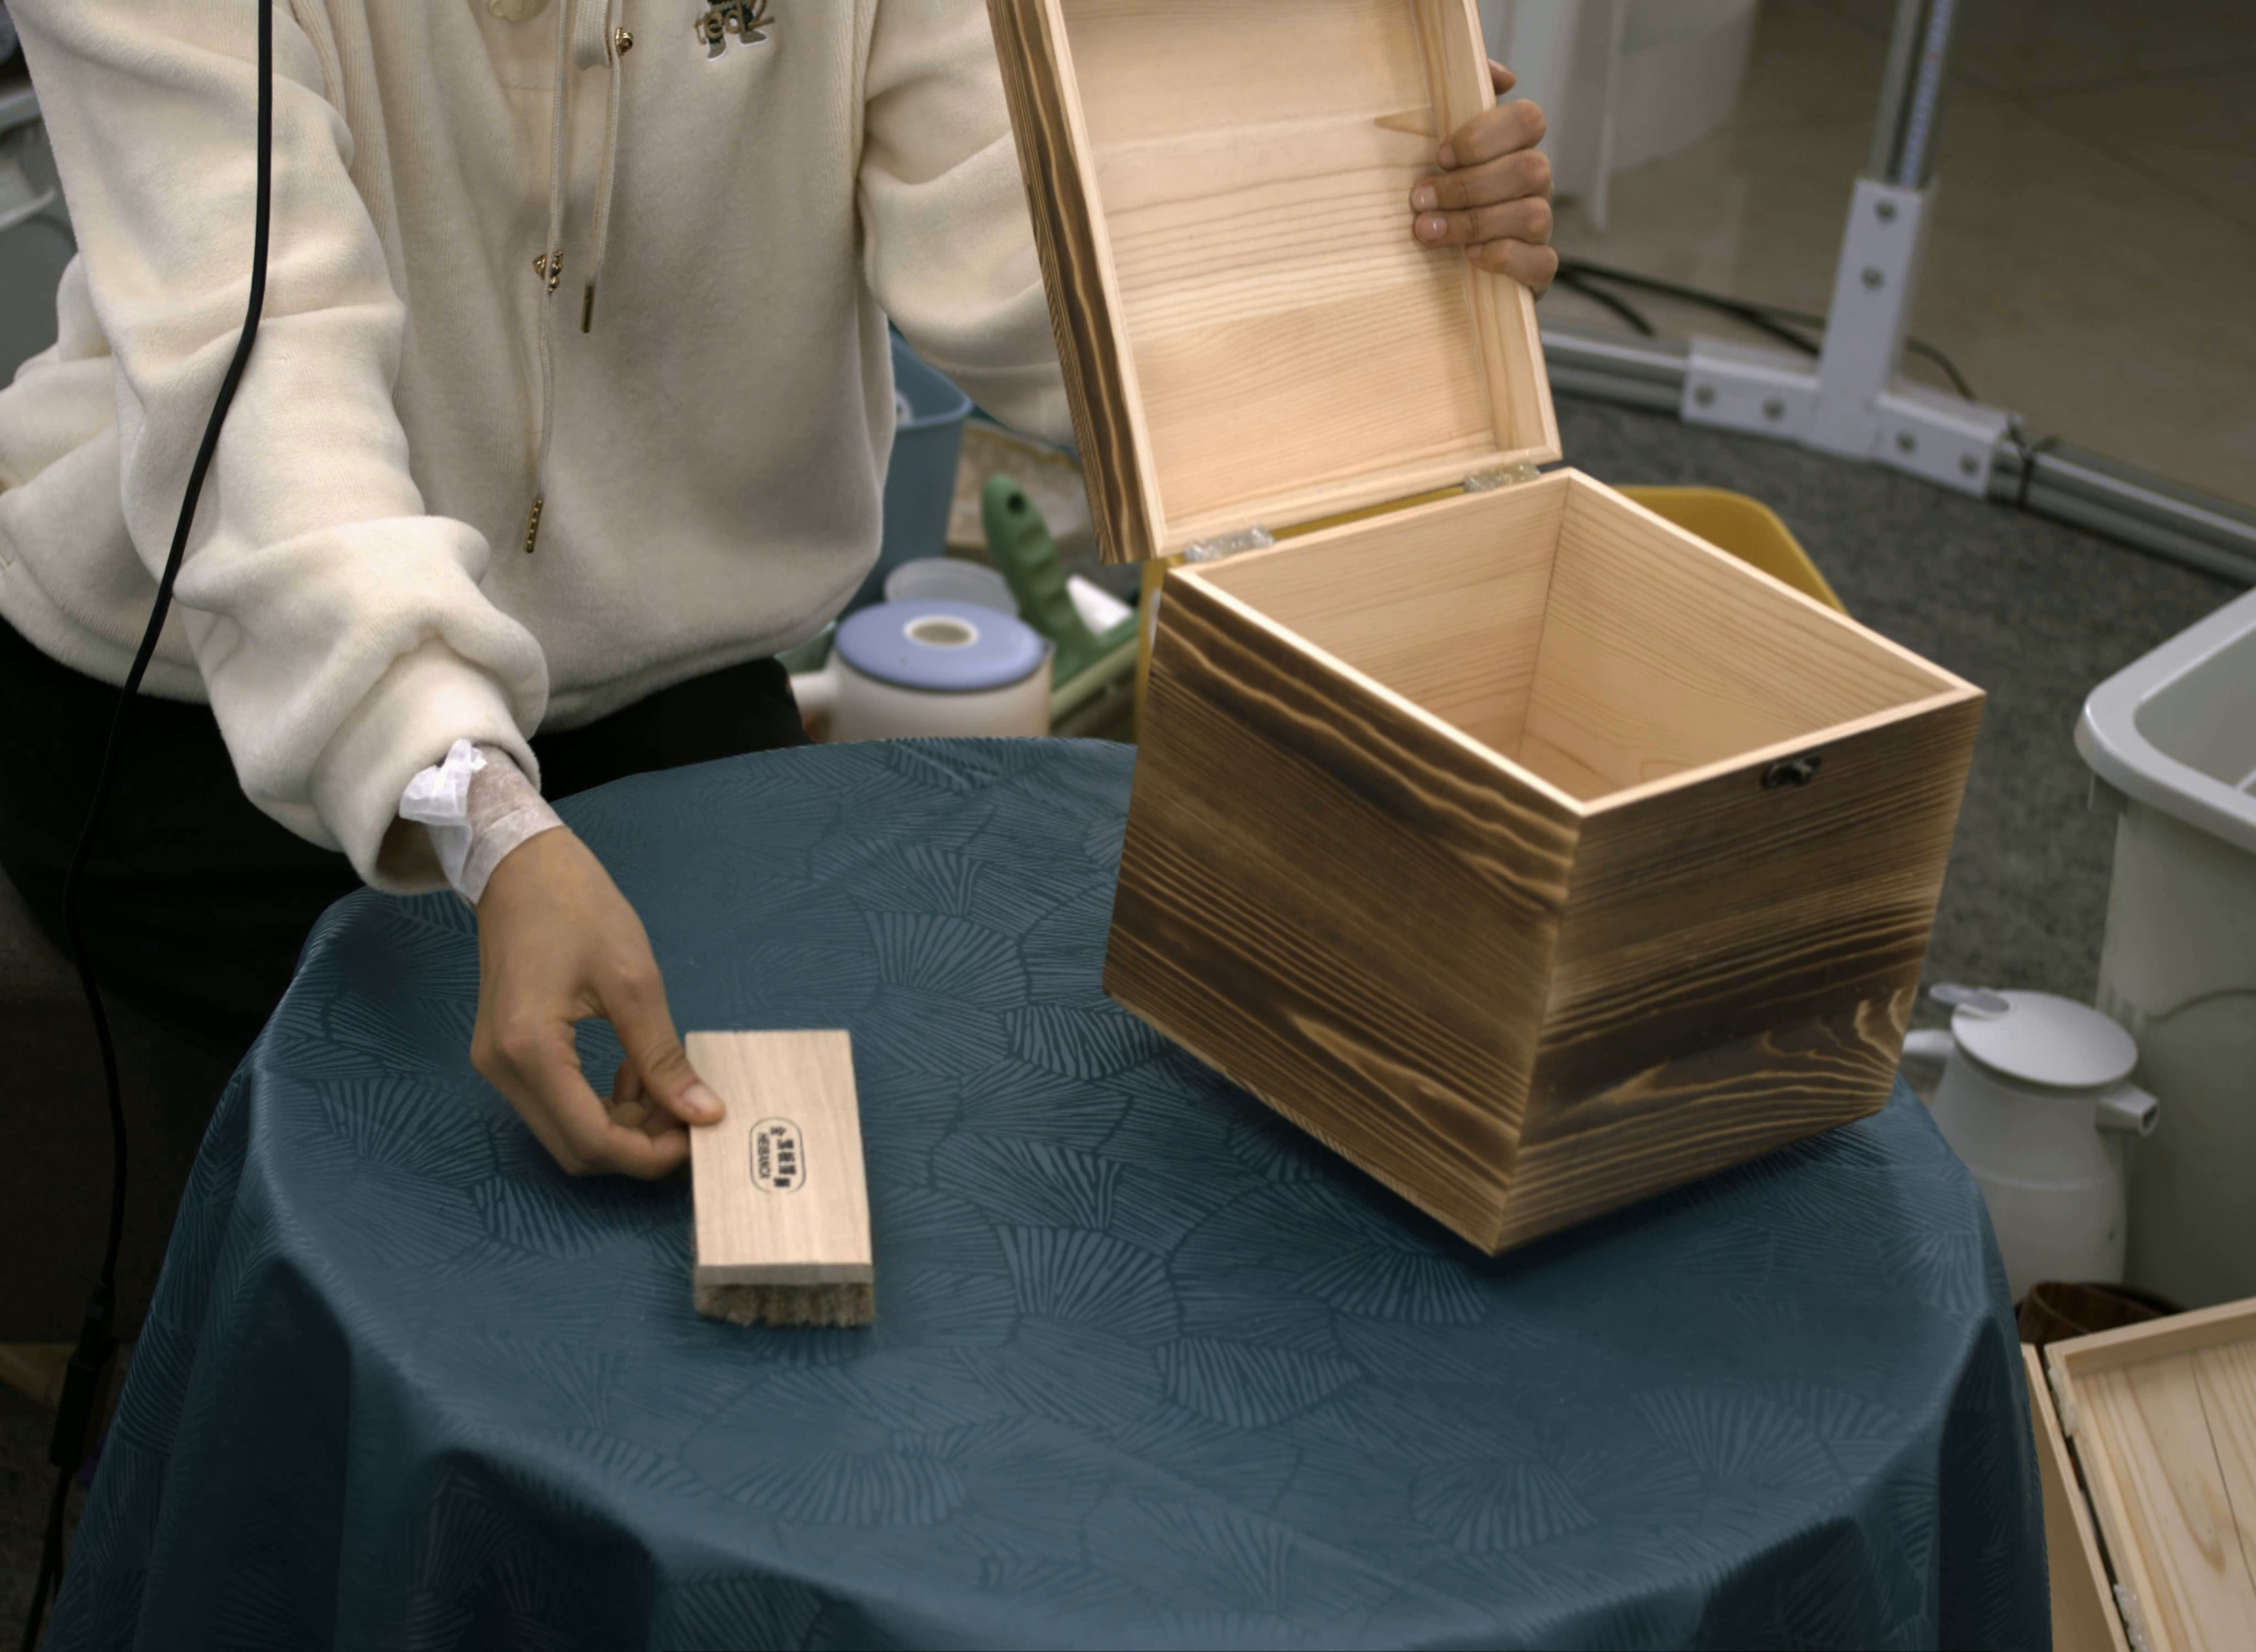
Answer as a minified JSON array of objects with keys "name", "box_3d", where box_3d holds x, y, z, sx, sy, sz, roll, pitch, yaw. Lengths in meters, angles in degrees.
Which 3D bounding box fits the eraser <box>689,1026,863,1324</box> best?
[{"name":"eraser","box_3d":[-0.117,0.115,1.755,0.057,0.029,0.140,0,30,-4]}]

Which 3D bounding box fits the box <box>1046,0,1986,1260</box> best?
[{"name":"box","box_3d":[0.119,-0.103,1.831,0.207,0.374,0.325,-17,37,-40]}]
